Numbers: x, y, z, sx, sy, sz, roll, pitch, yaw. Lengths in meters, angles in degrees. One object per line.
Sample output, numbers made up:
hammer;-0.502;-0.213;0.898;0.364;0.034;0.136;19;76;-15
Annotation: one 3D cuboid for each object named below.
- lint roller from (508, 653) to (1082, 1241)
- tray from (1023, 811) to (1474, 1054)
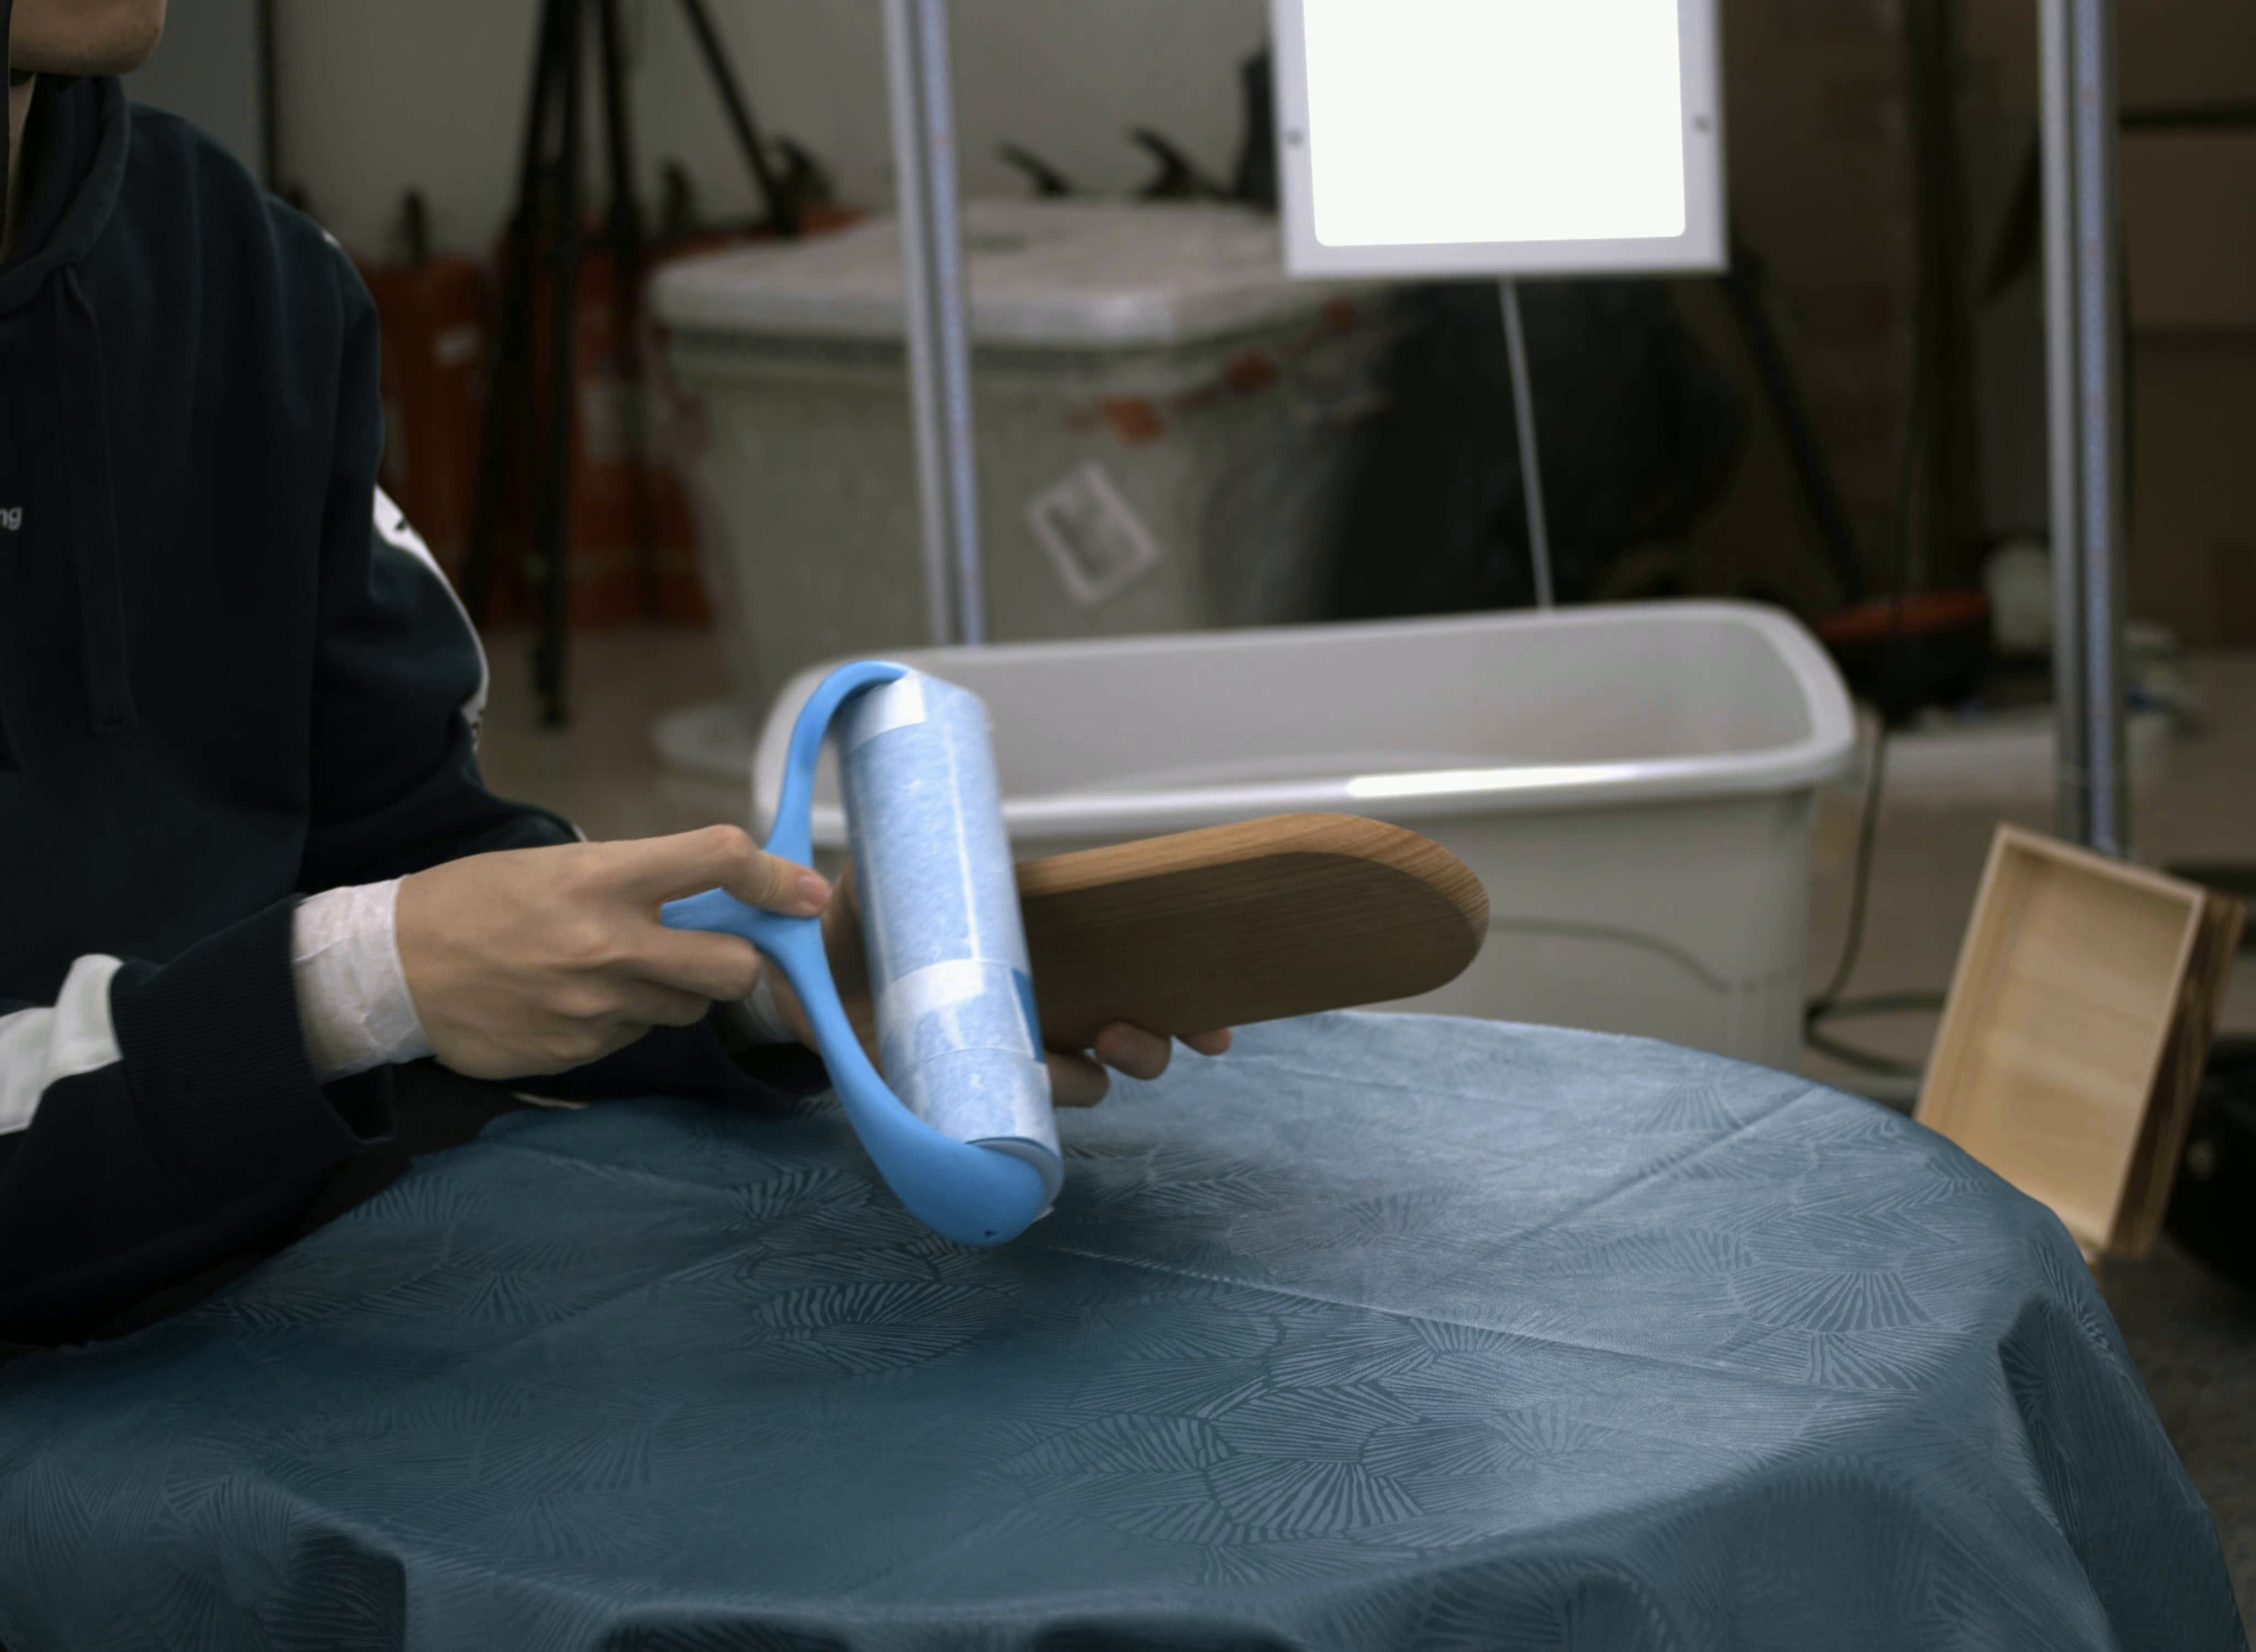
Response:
lint roller;-0.113;0.044;1.809;0.178;0.068;0.229;-6;54;-8
tray;0.009;0.039;1.873;0.235;0.100;0.020;-11;50;29
